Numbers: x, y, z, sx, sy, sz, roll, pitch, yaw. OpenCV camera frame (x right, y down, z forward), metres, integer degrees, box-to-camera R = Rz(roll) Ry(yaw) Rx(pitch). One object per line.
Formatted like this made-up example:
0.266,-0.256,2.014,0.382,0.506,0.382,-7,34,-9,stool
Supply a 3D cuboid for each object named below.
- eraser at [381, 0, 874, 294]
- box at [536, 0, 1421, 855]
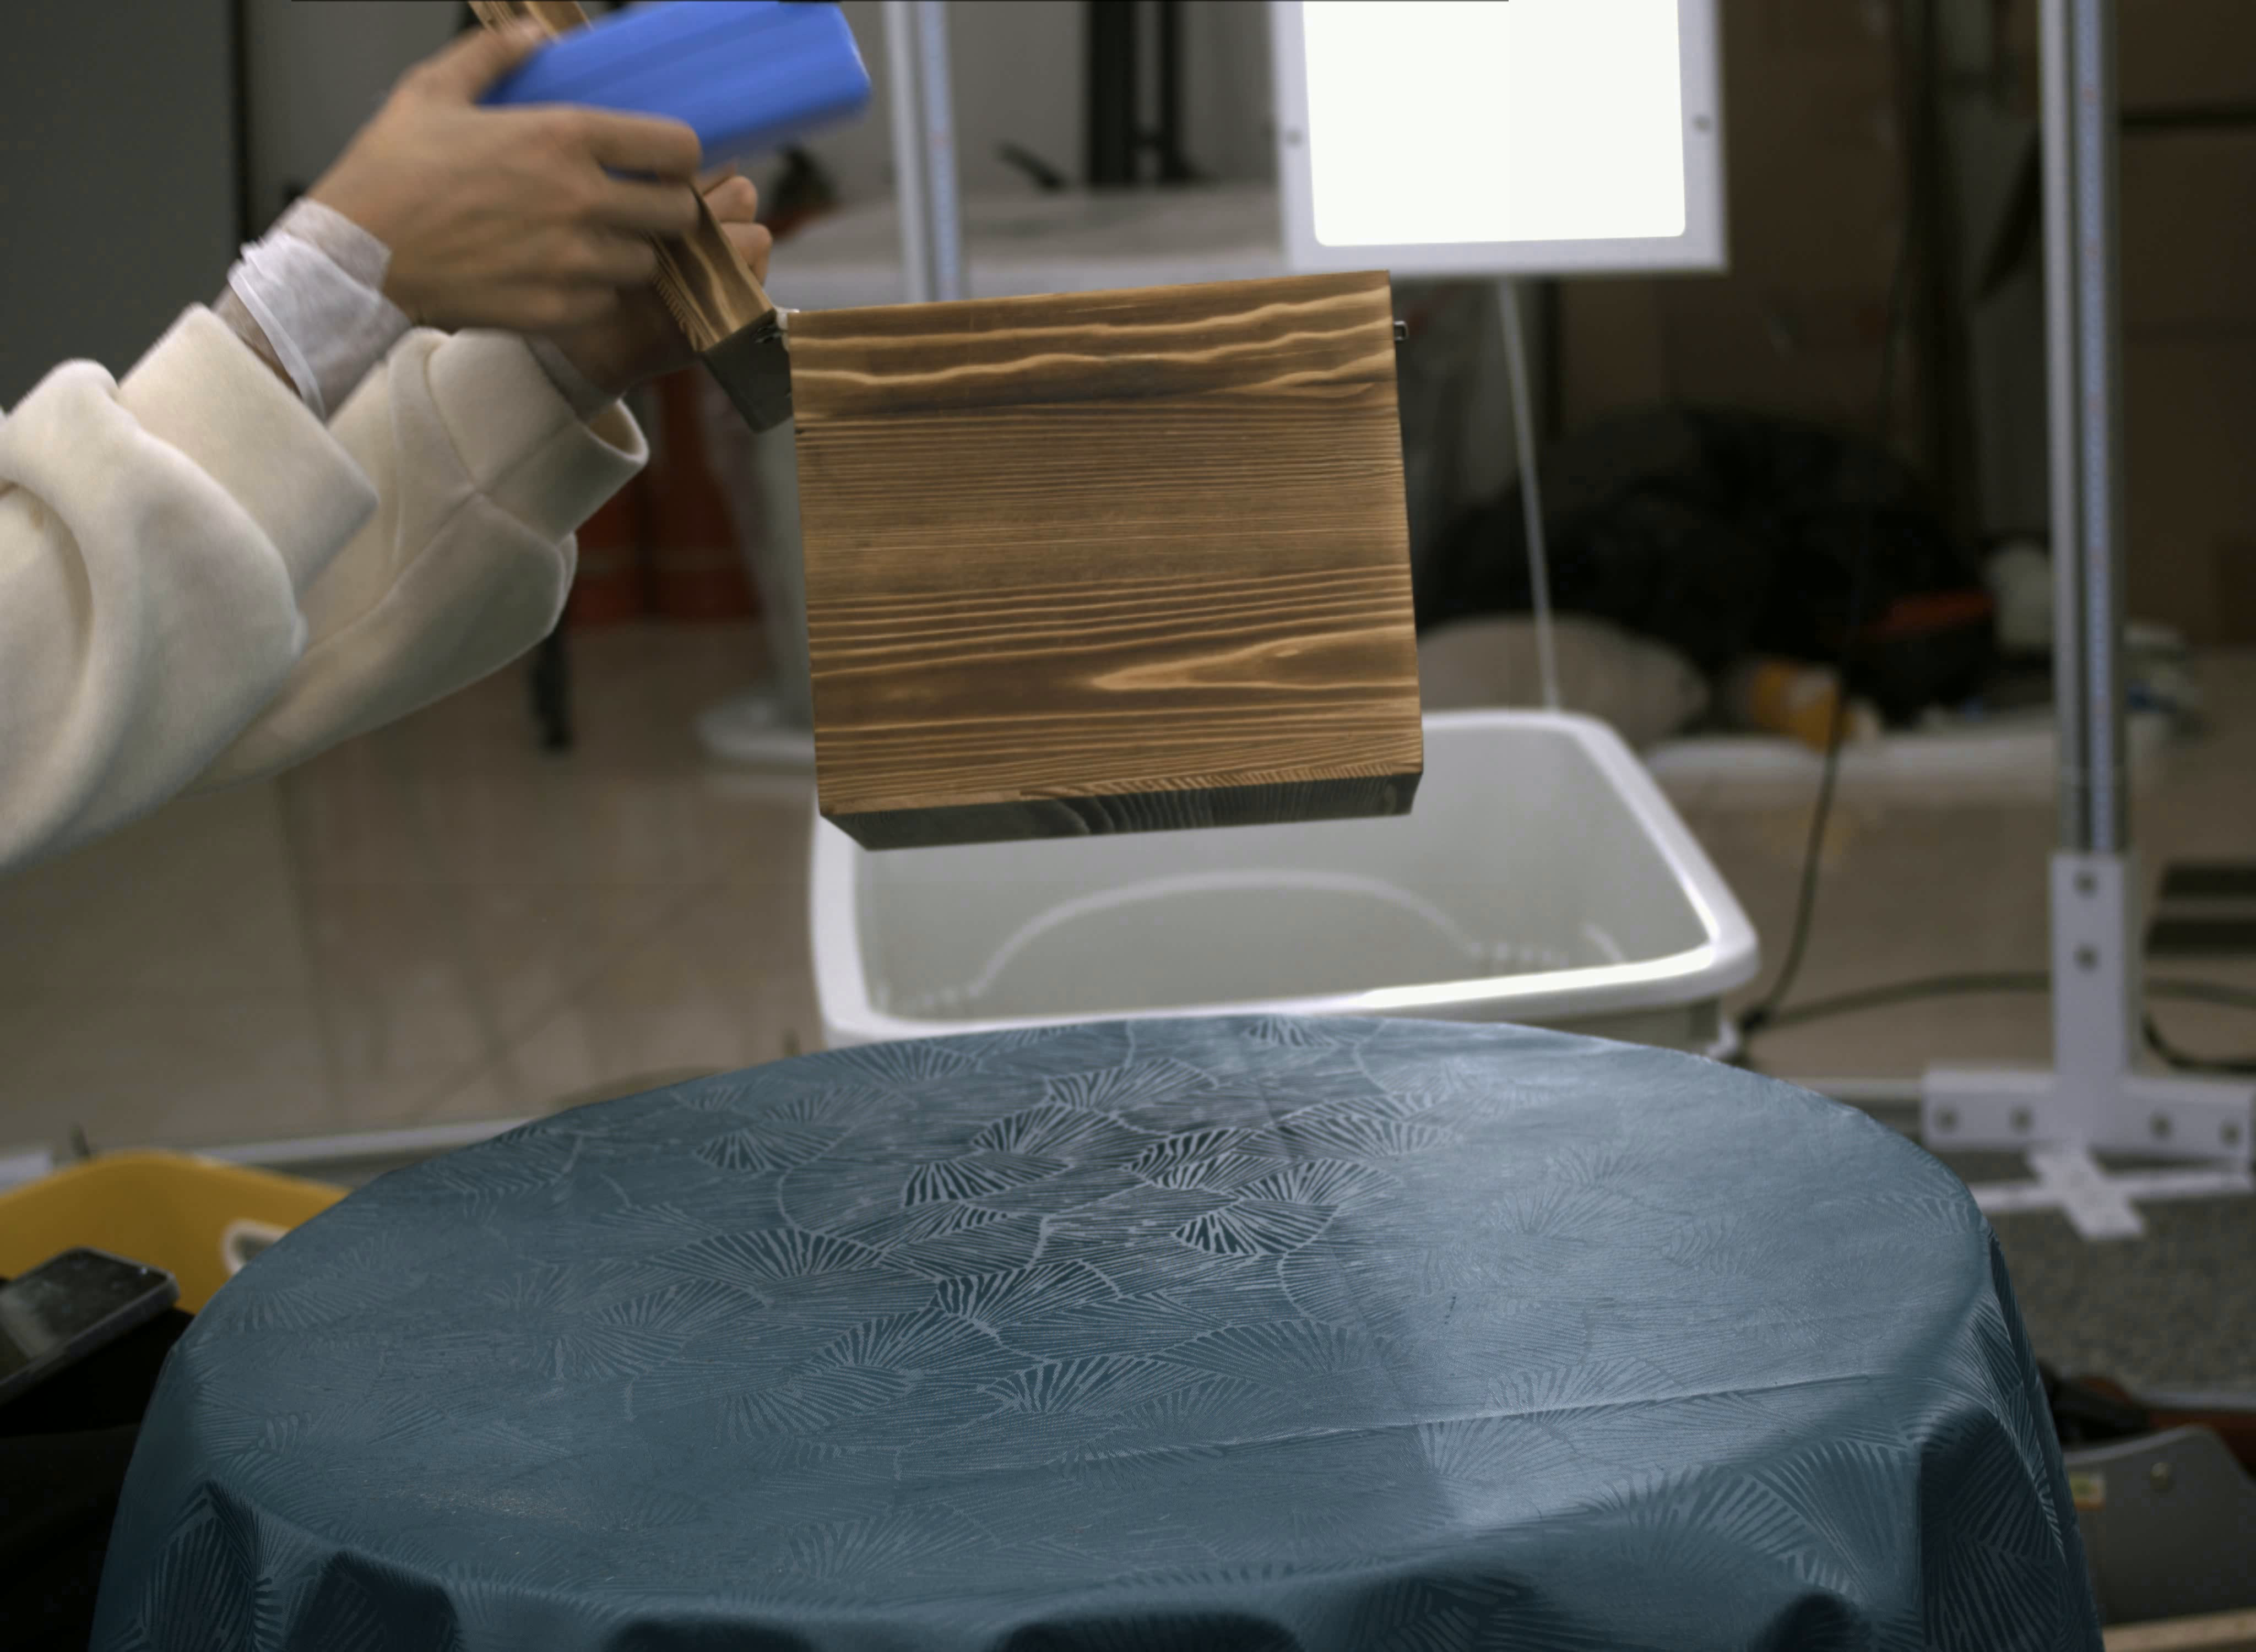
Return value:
-0.164,-0.228,1.803,0.162,0.054,0.047,-22,-8,0,eraser
-0.064,-0.177,1.914,0.322,0.376,0.208,-5,-3,3,box
